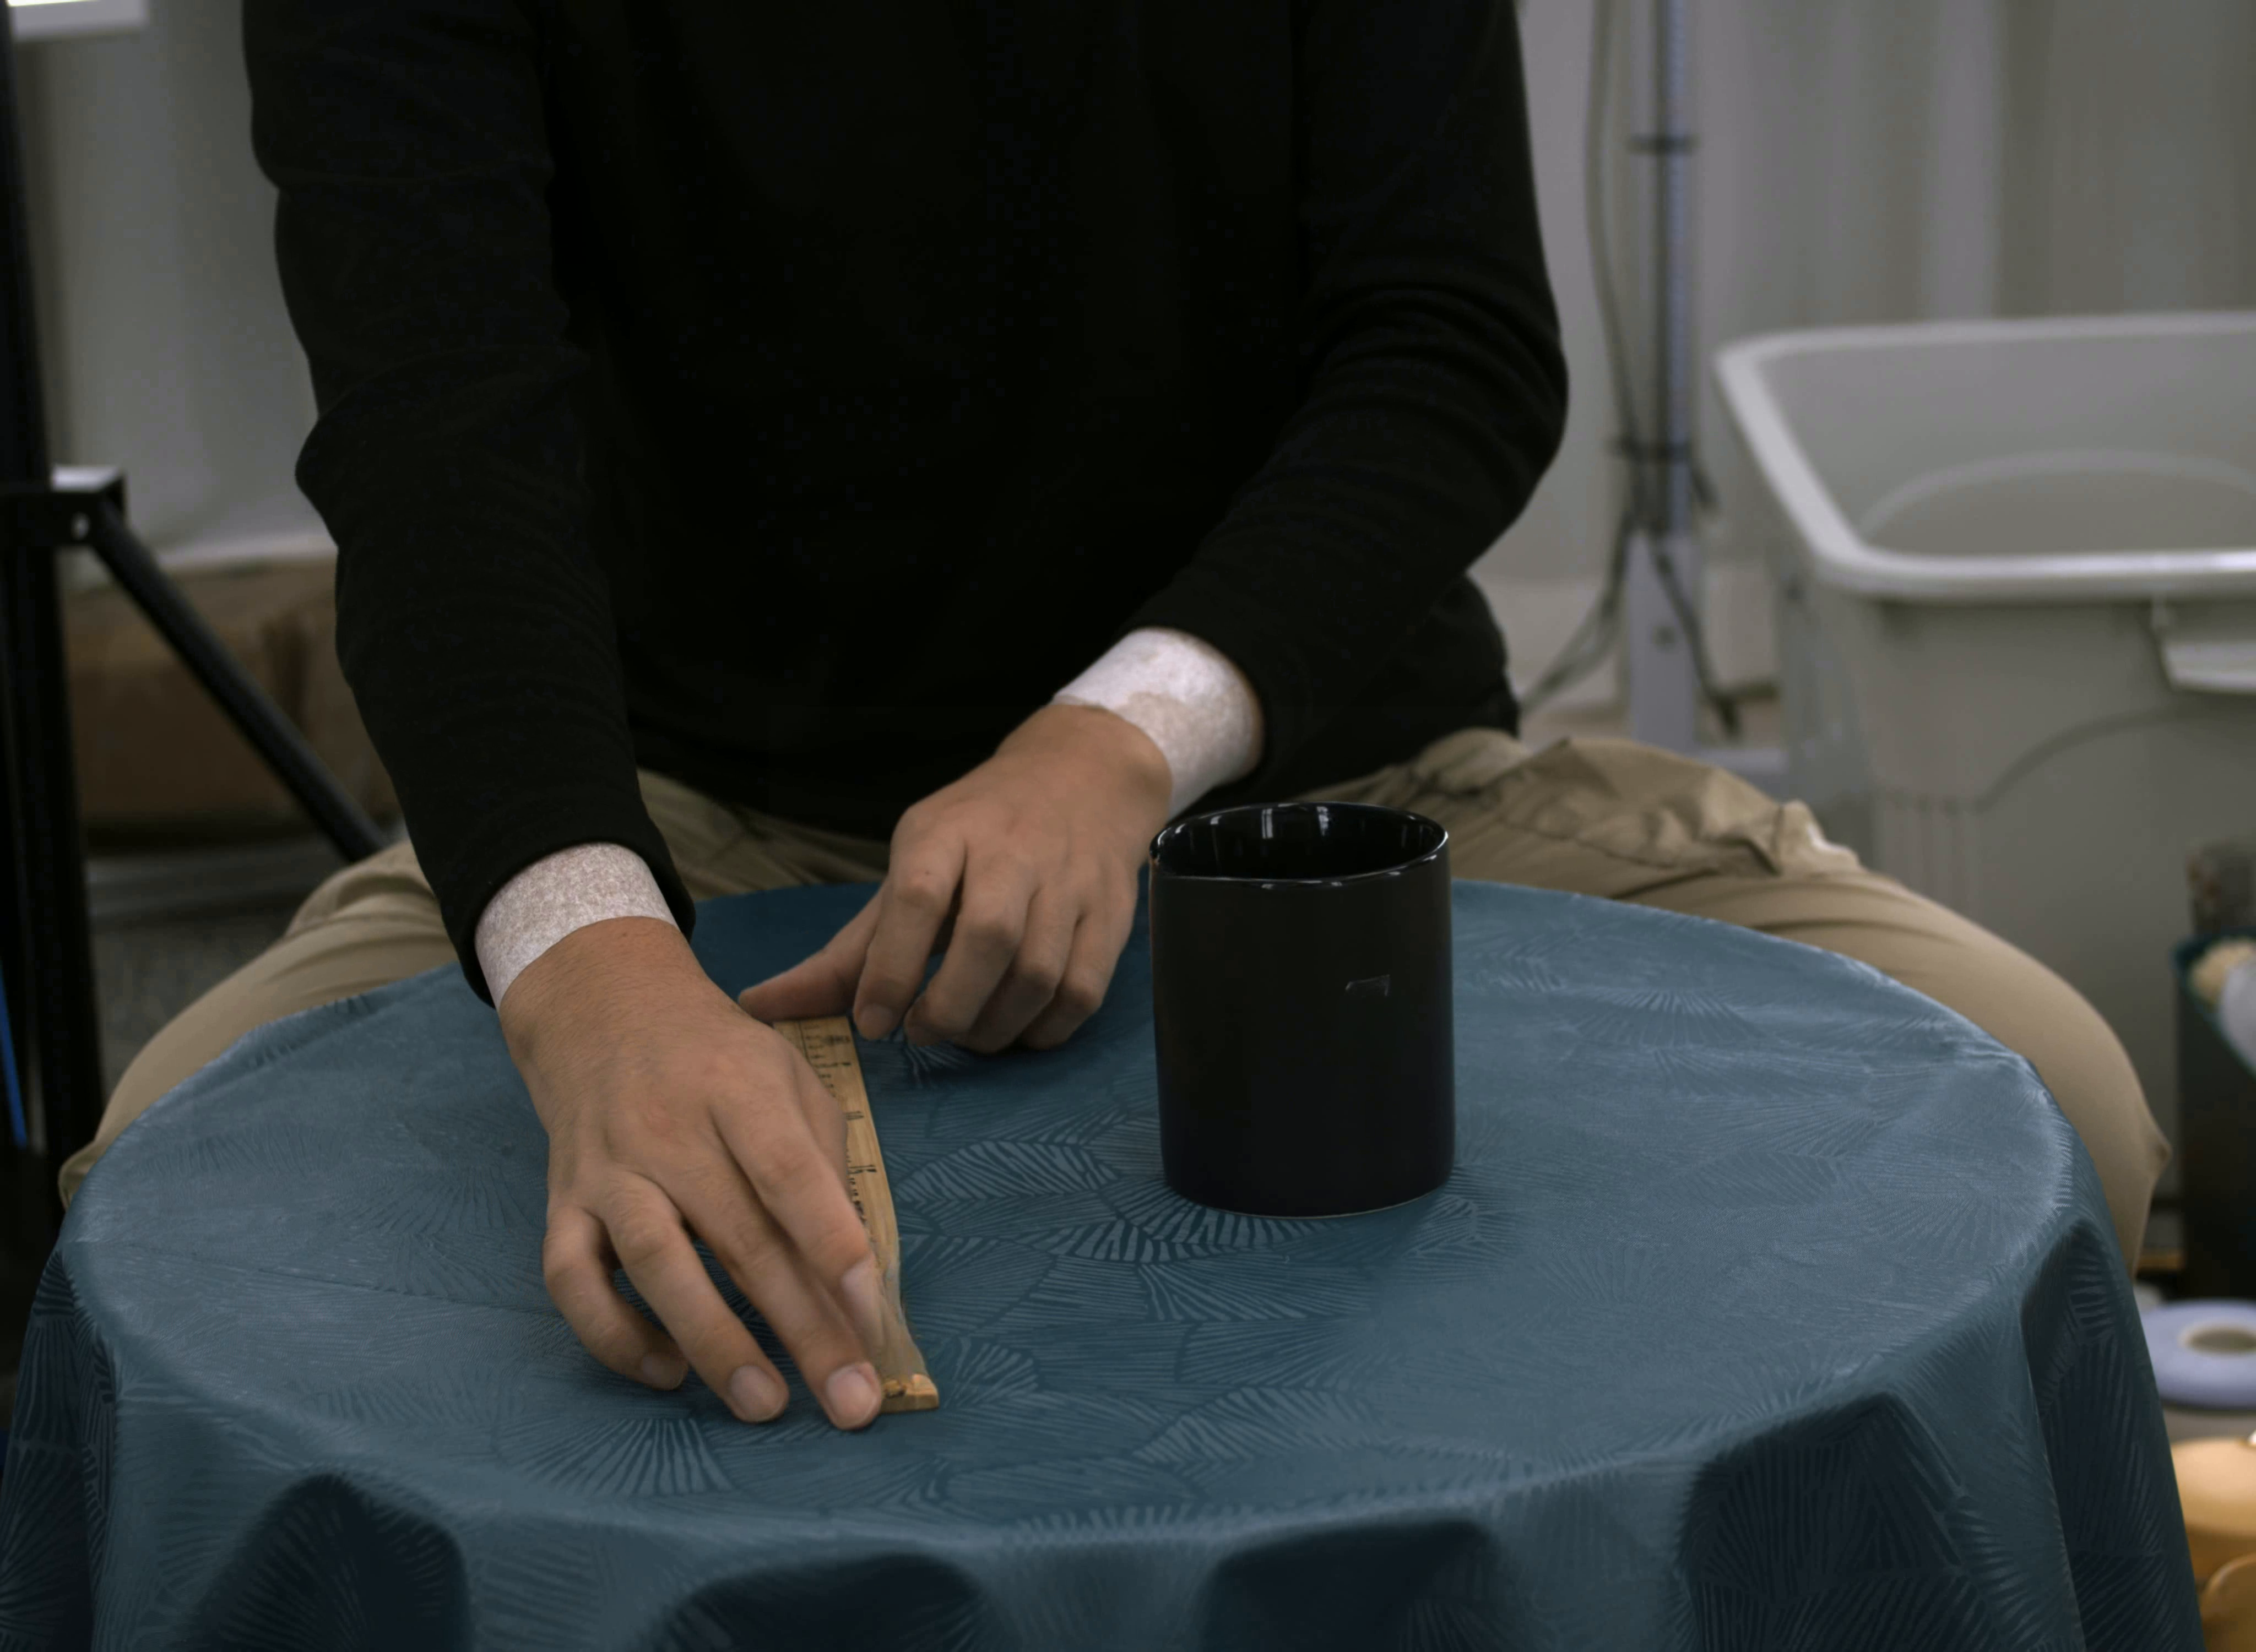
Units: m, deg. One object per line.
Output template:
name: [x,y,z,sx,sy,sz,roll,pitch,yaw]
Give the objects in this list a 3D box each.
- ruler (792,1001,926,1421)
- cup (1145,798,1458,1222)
ruler: [-0.081,0.105,1.562,0.027,0.022,0.334,0,16,-6]
cup: [0.049,0.049,1.572,0.088,0.105,0.124,-5,15,-4]
